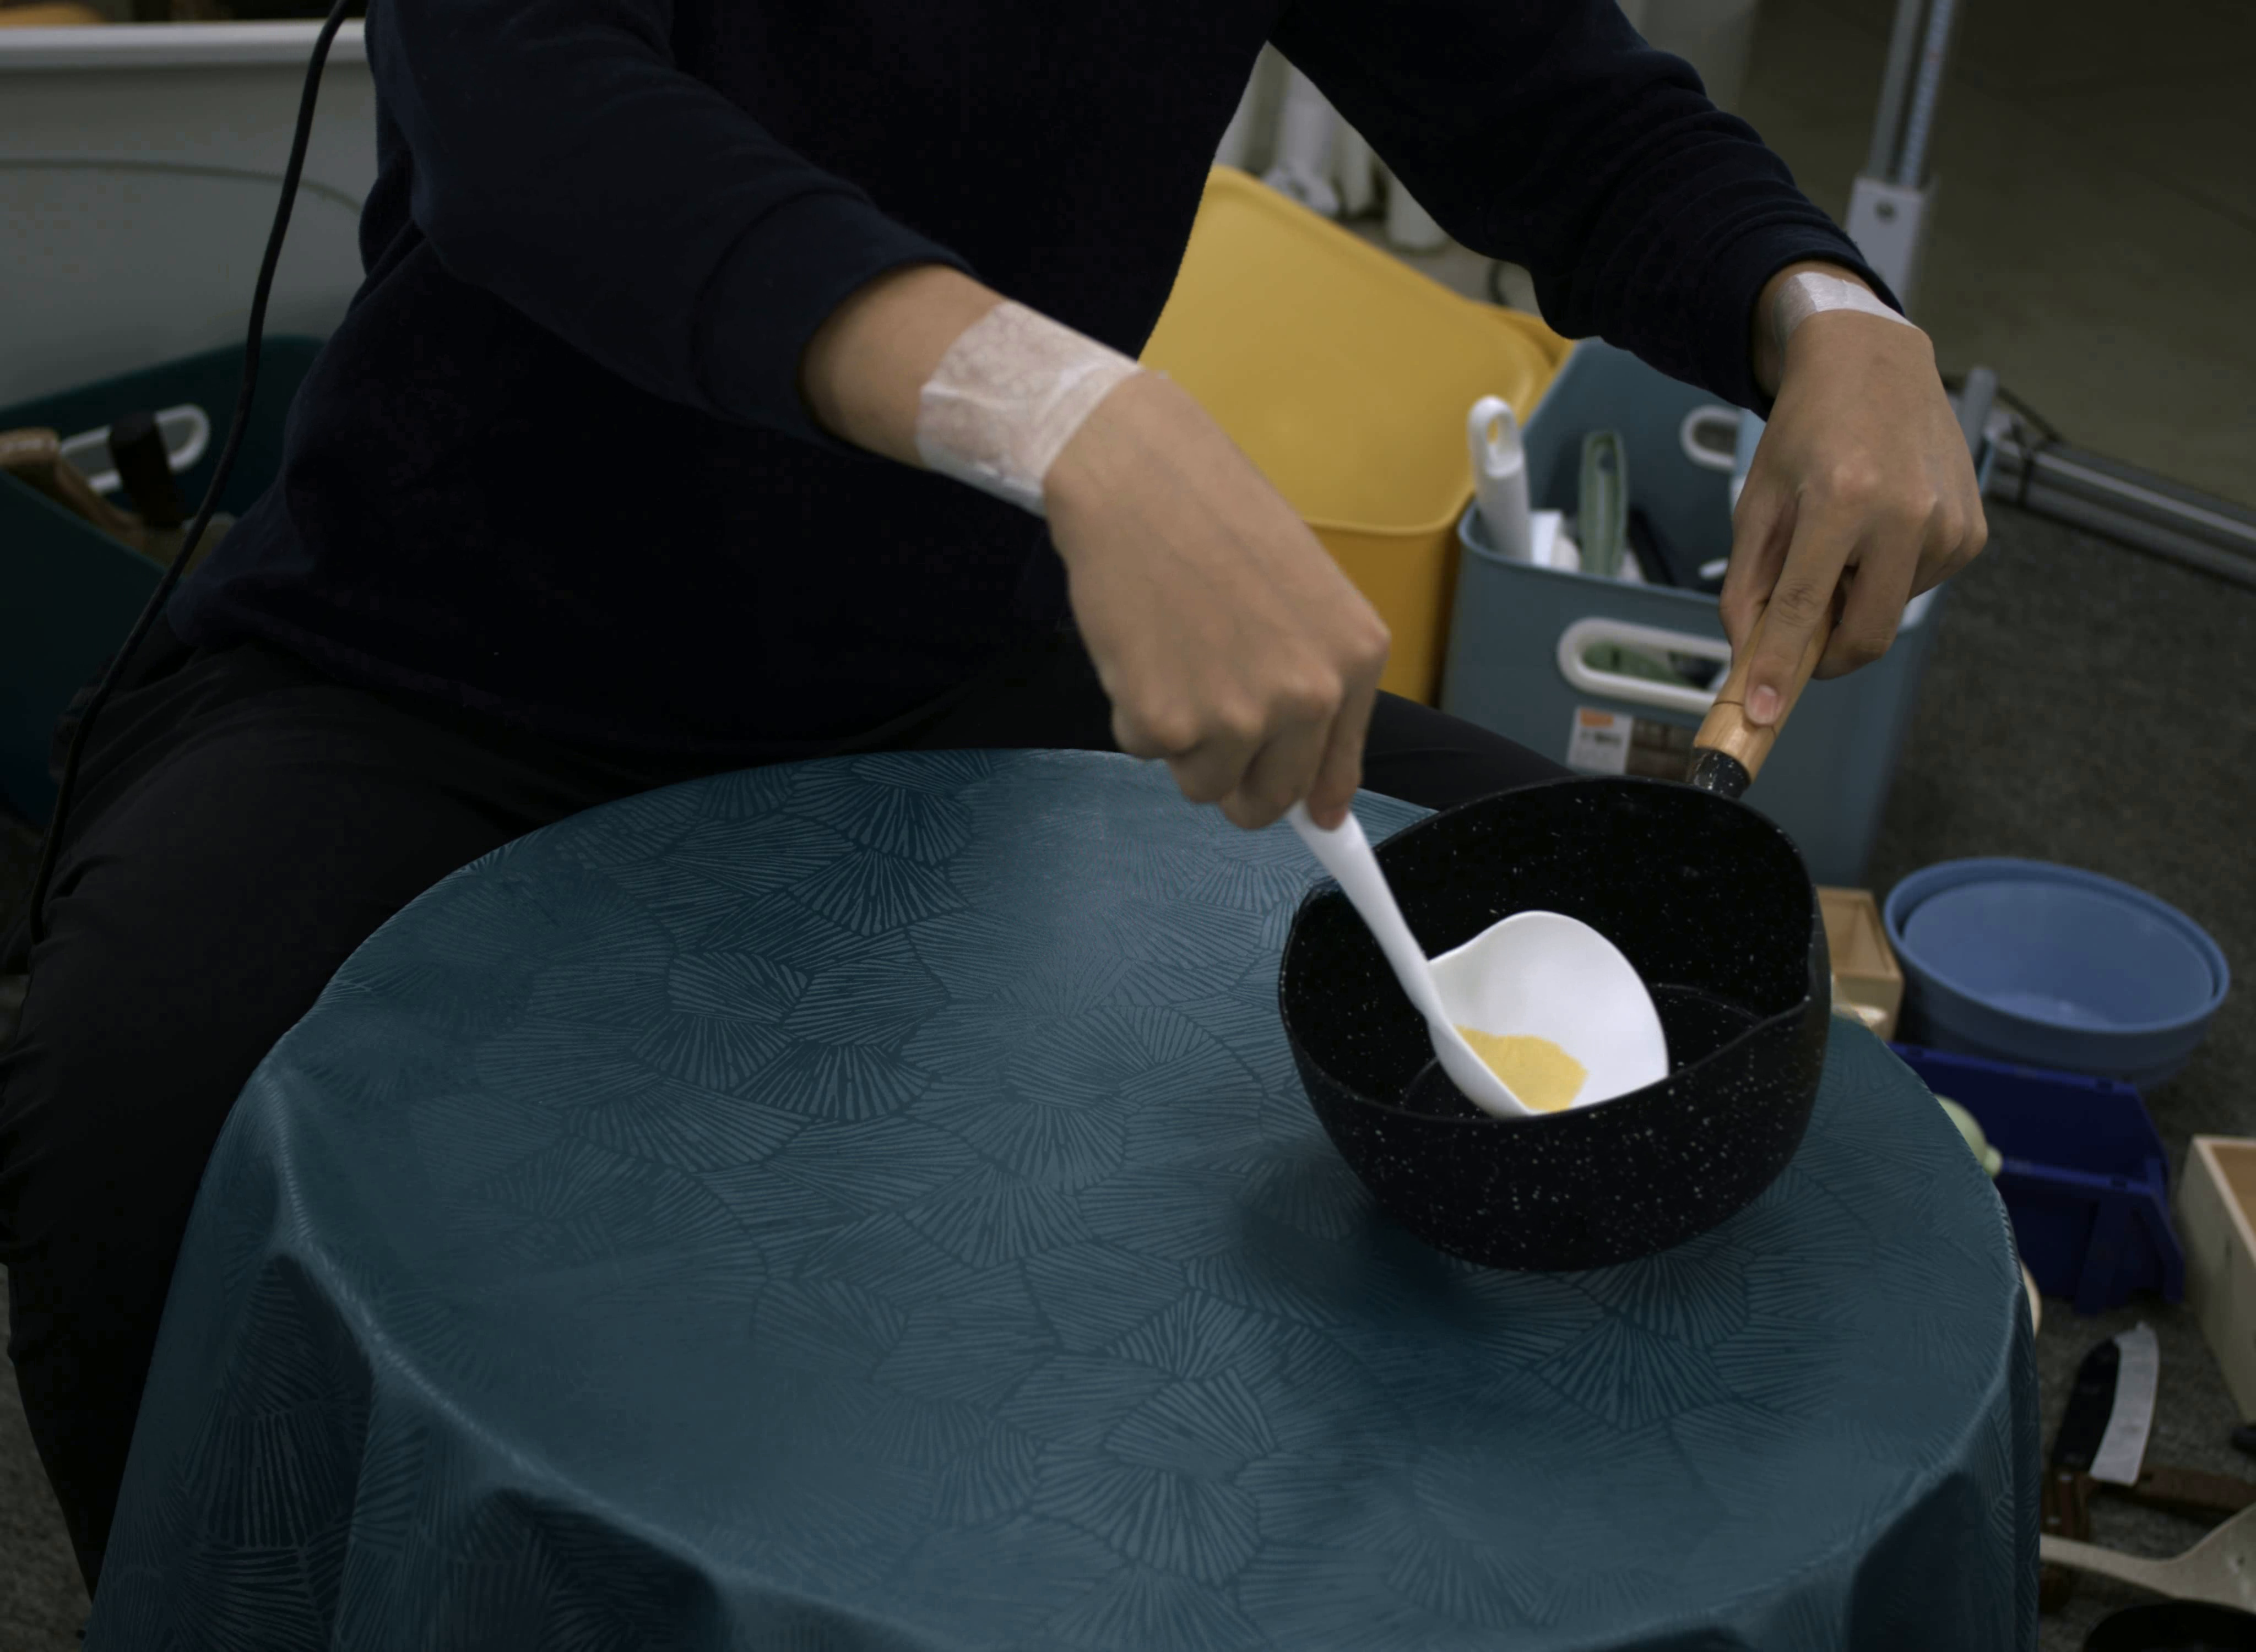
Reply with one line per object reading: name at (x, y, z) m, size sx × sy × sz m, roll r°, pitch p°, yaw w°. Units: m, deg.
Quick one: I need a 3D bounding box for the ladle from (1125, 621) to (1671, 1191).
ladle at (0.089, 0.022, 1.645) m, size 0.070 × 0.290 × 0.091 m, roll -7°, pitch 58°, yaw 24°

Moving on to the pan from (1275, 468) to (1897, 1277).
pan at (0.187, 0.014, 1.839) m, size 0.208 × 0.107 × 0.343 m, roll 9°, pitch 43°, yaw 34°
